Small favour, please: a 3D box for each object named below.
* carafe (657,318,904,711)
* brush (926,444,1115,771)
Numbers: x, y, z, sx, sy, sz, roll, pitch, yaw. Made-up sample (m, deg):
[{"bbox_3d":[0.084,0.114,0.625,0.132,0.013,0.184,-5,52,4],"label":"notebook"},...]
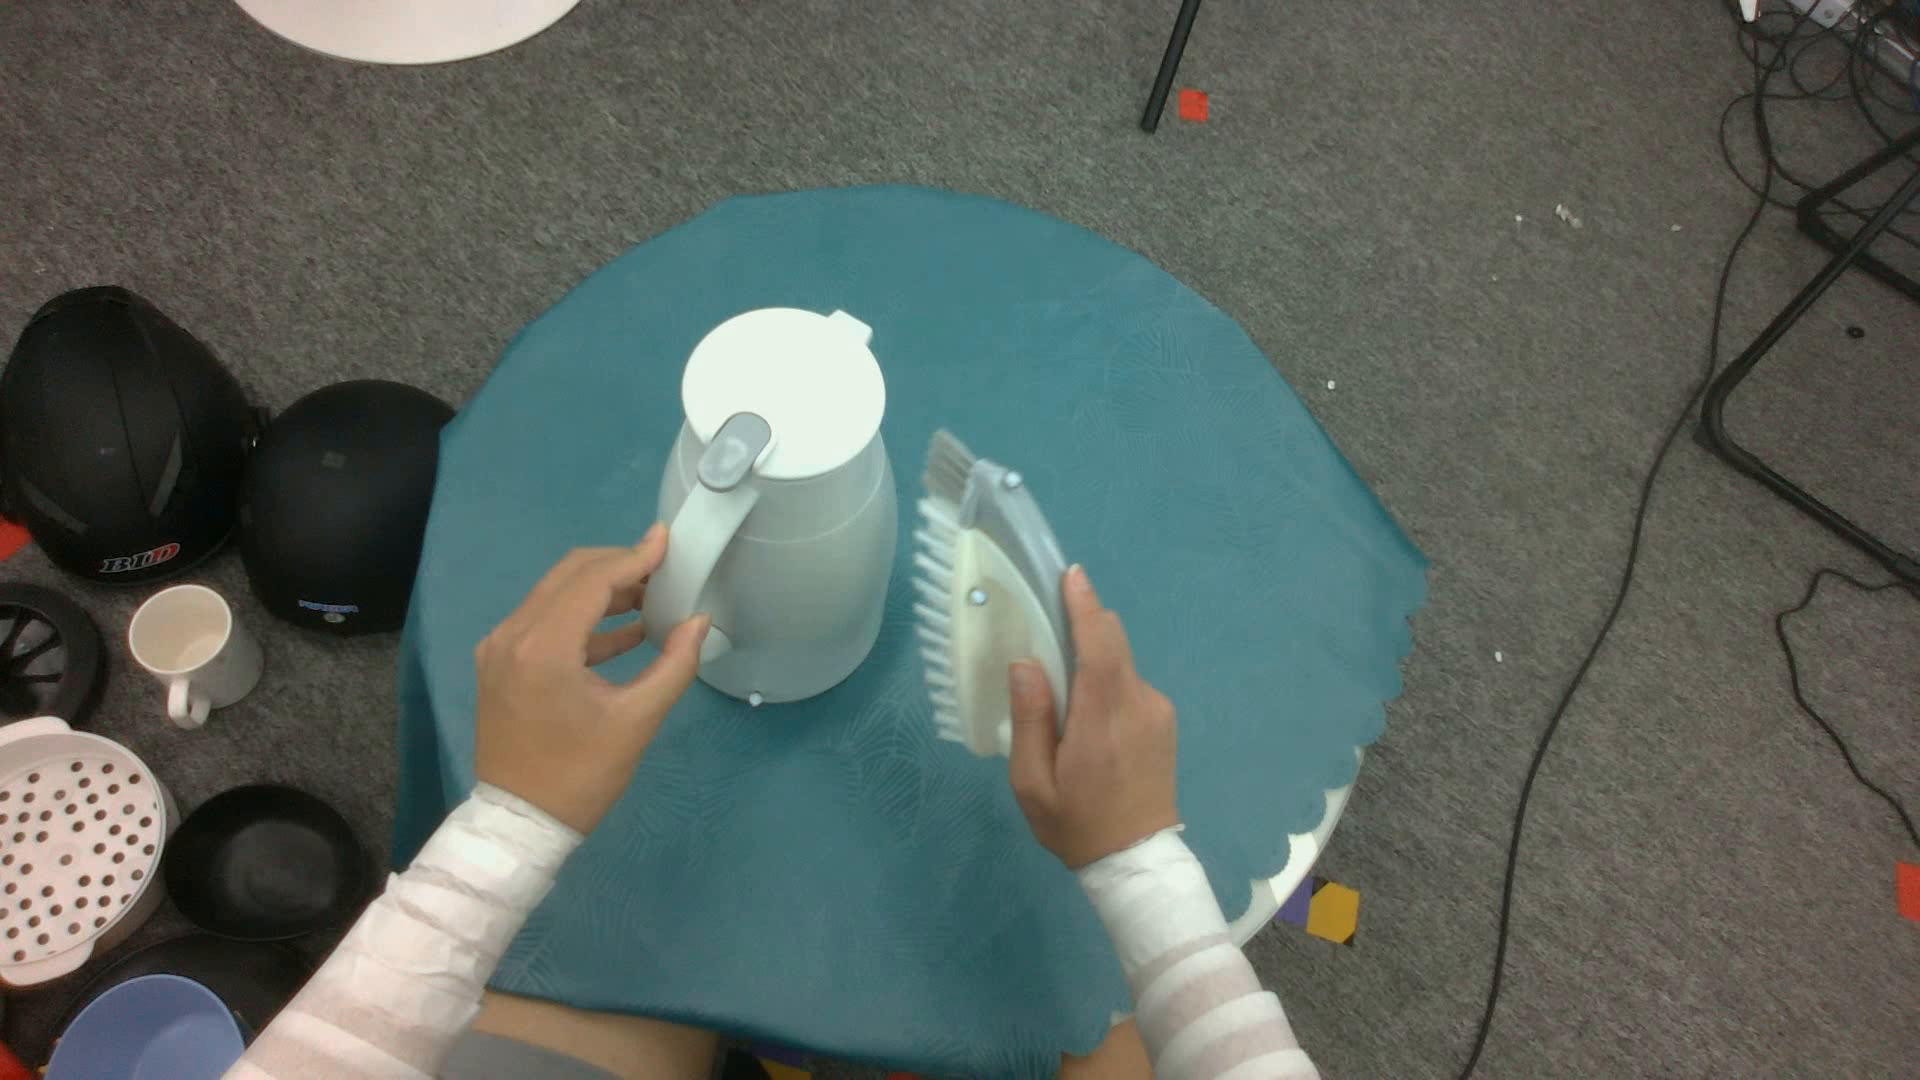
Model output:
[{"bbox_3d":[-0.101,0.002,0.728,0.132,0.247,0.168,28,63,7],"label":"carafe"},{"bbox_3d":[0.032,0.039,0.681,0.094,0.175,0.062,19,38,41],"label":"brush"}]
